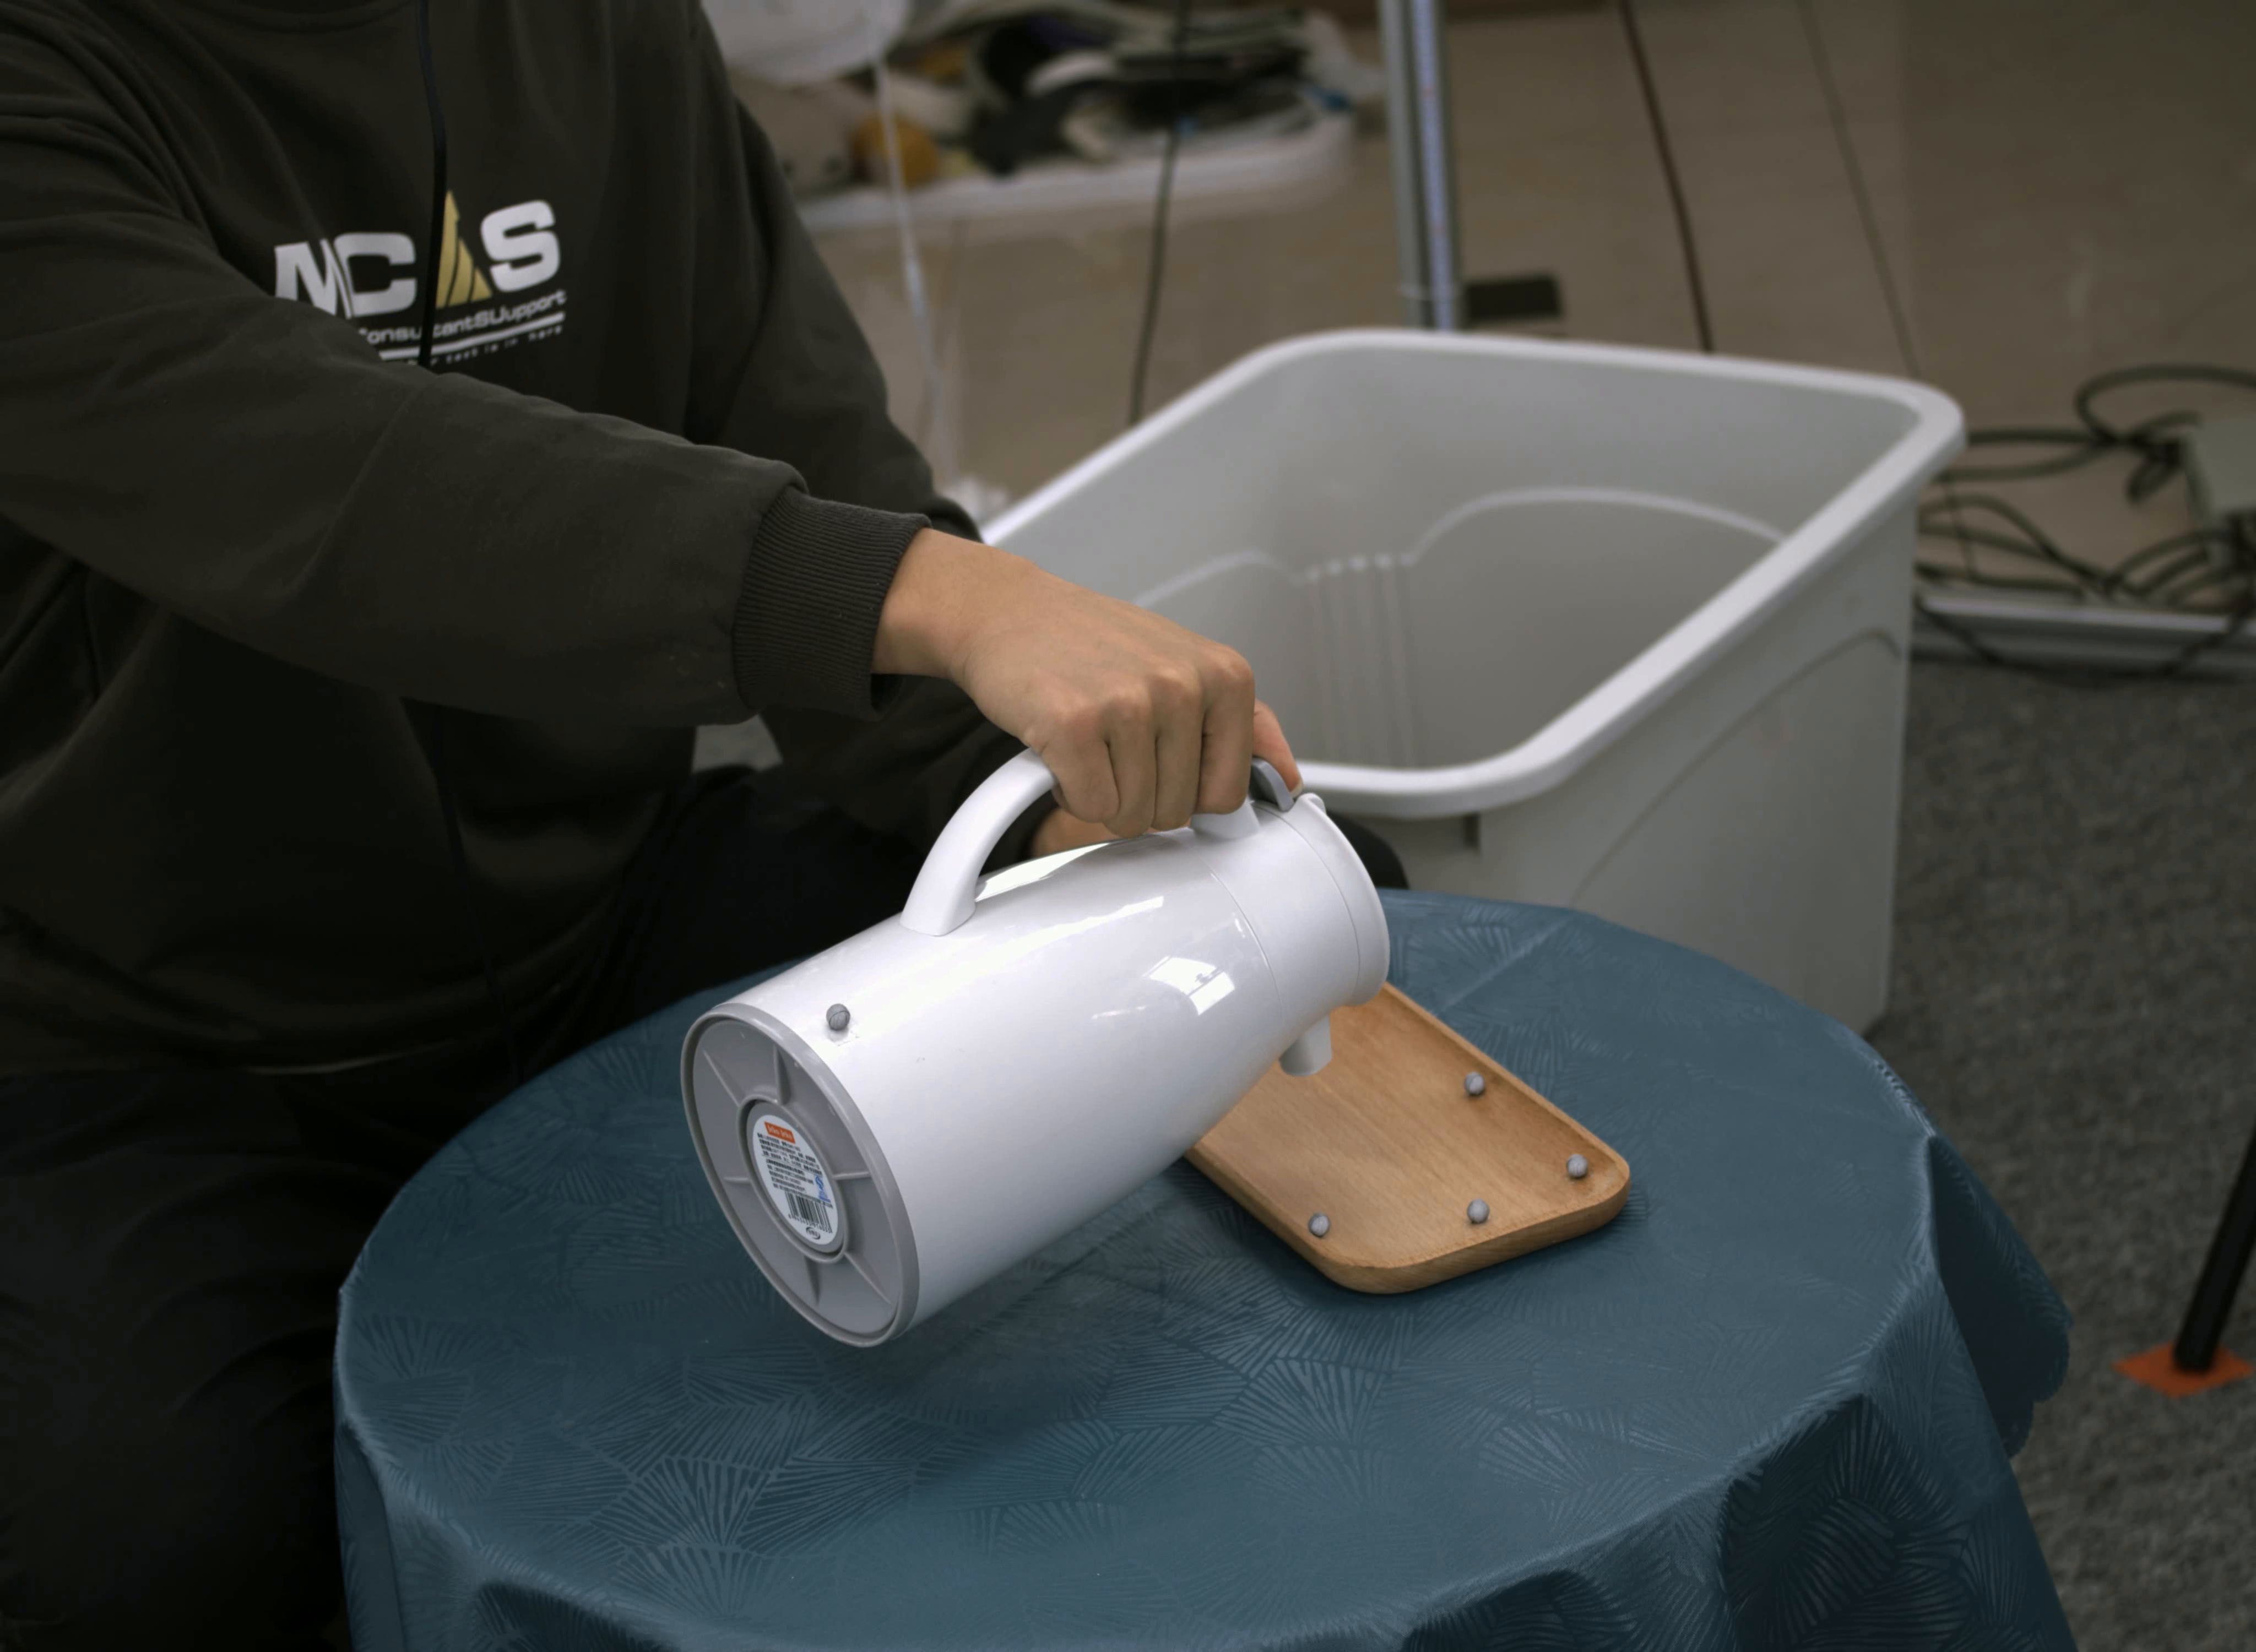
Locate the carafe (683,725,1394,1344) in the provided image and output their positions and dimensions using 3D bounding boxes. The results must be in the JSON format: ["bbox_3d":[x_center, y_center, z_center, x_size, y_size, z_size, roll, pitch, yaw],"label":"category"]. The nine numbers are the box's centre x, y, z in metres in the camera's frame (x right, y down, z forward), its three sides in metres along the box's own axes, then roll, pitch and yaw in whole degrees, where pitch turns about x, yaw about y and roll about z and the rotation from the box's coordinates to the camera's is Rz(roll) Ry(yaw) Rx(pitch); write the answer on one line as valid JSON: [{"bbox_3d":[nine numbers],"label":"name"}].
[{"bbox_3d":[-0.025,0.057,2.031,0.247,0.170,0.131,-28,30,-27],"label":"carafe"}]

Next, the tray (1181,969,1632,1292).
[{"bbox_3d":[0.085,0.112,2.165,0.130,0.023,0.248,-14,24,-21],"label":"tray"}]
